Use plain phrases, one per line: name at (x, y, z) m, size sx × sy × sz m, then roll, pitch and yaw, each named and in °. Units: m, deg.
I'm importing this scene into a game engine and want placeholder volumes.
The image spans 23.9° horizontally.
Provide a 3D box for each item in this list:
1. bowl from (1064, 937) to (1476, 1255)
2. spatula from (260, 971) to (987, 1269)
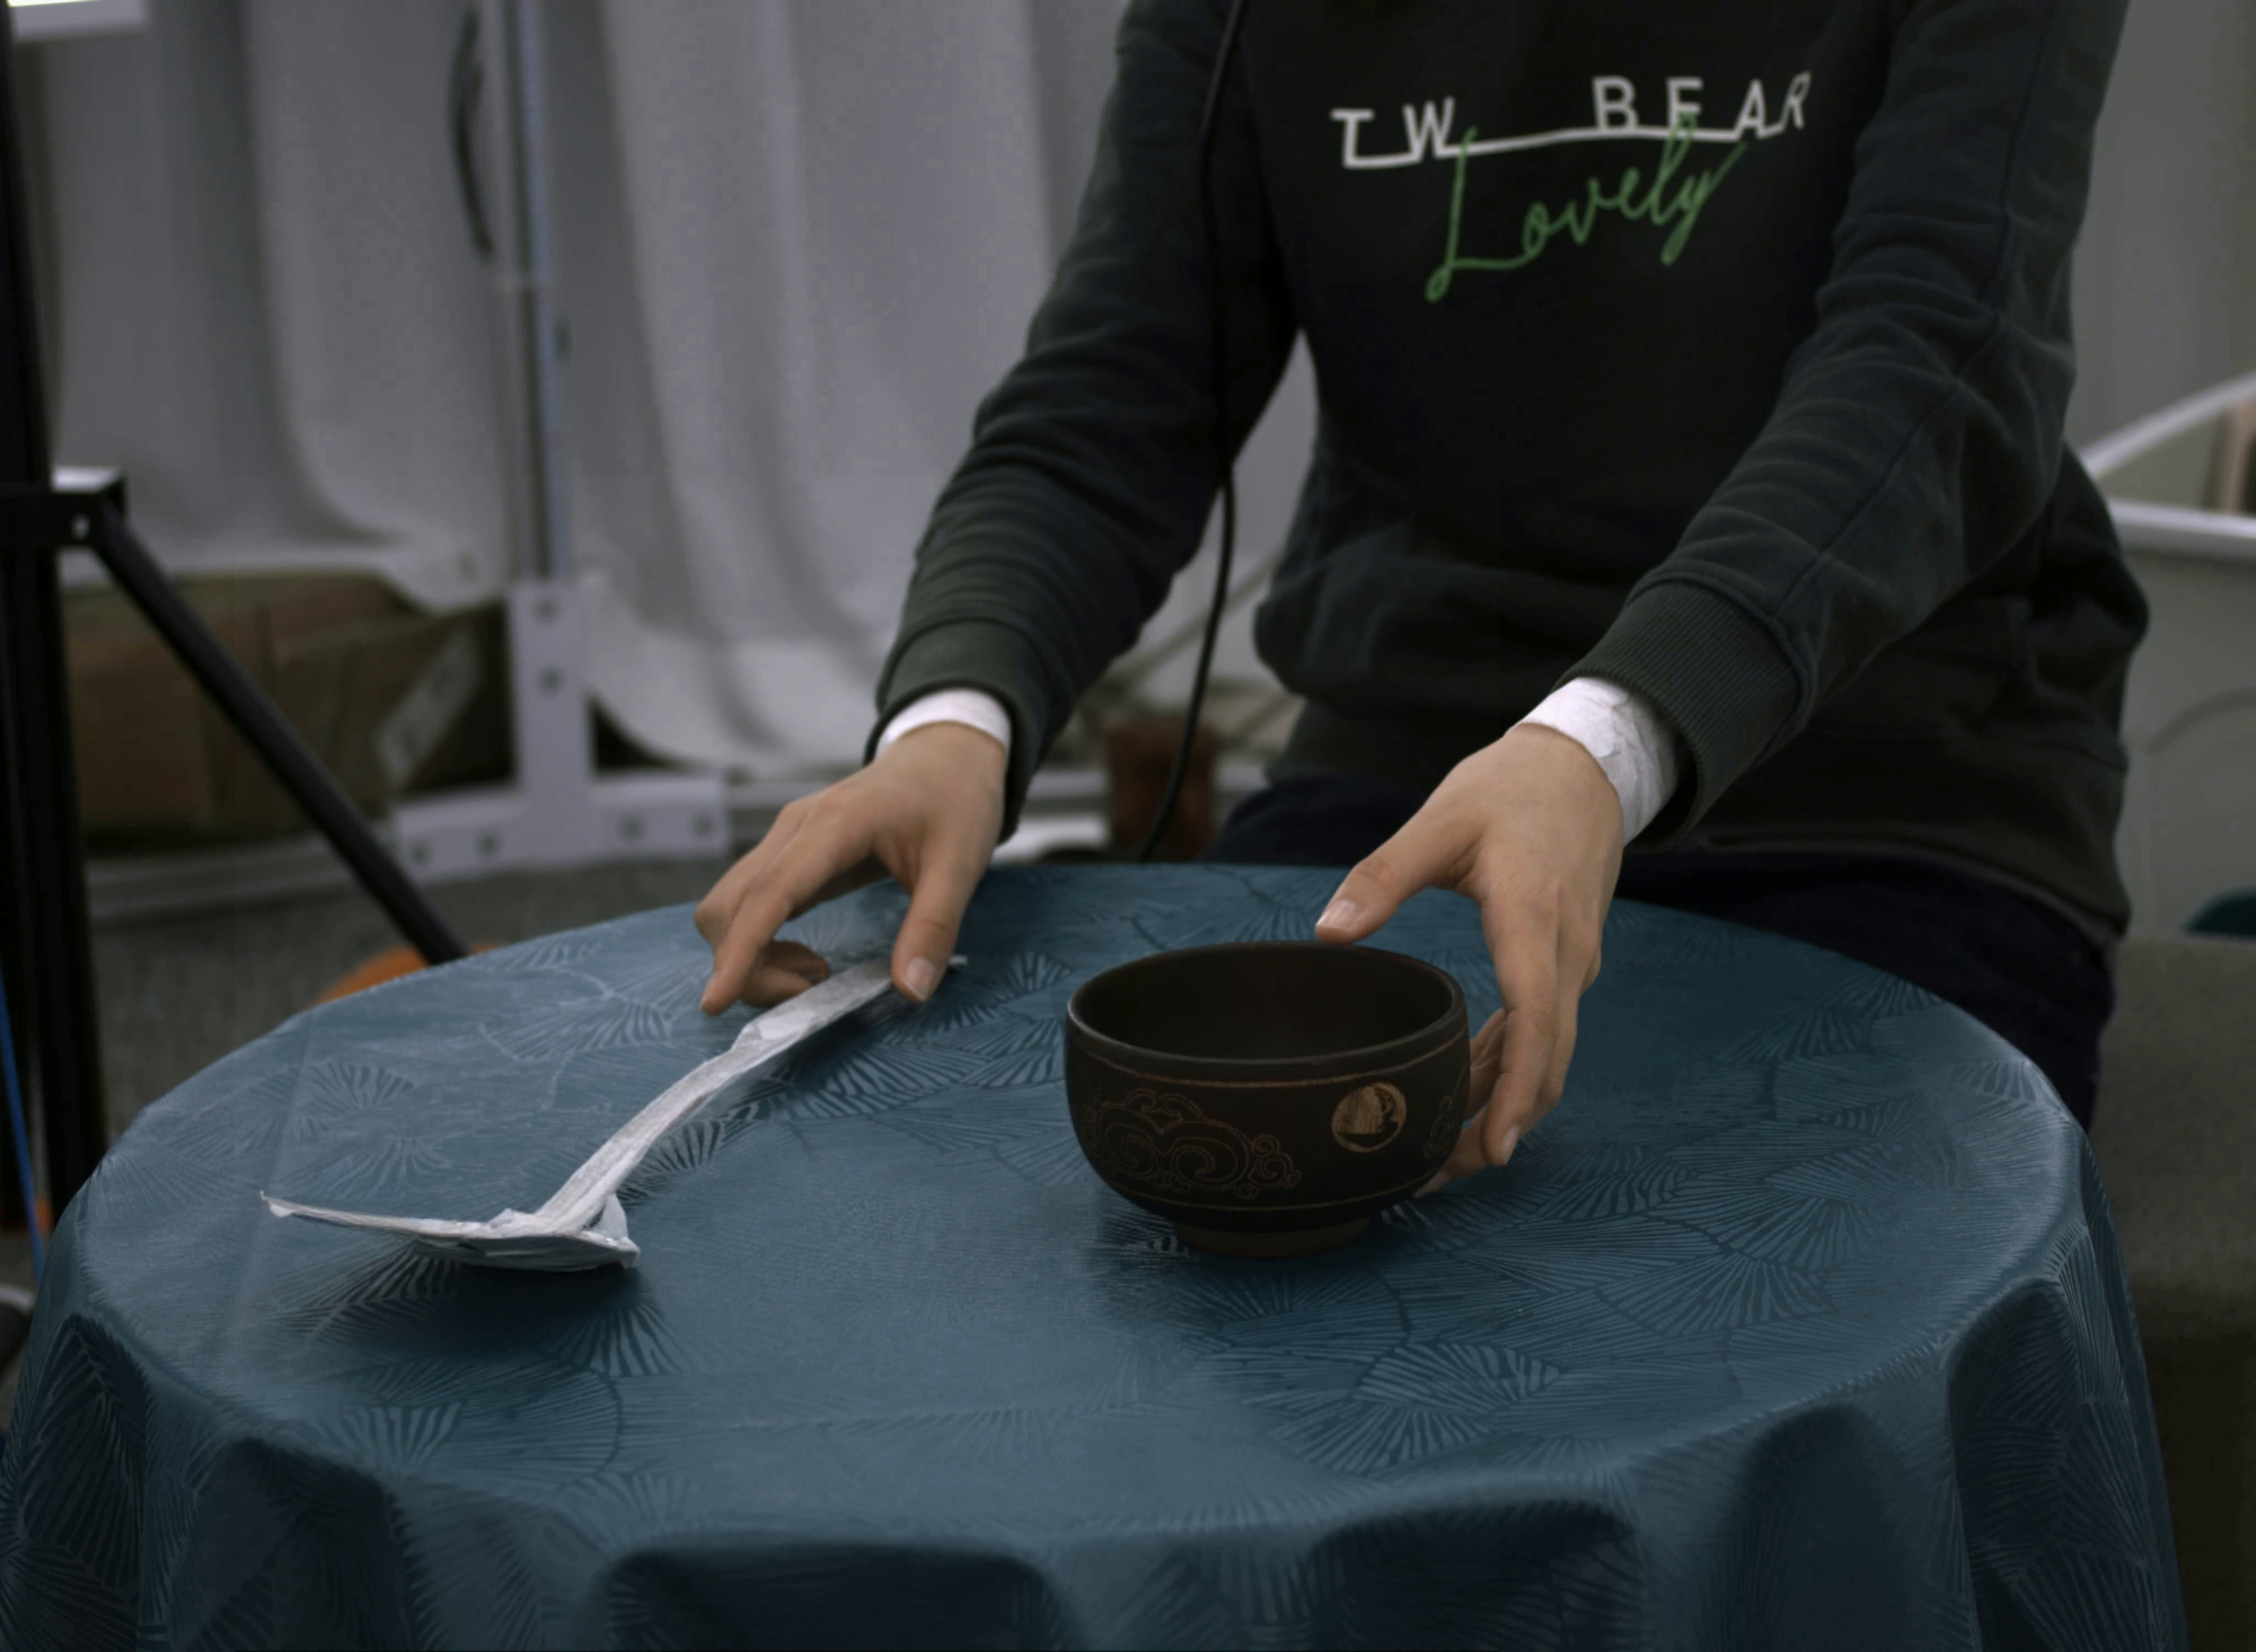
bowl at (0.041, 0.081, 1.516) m, size 0.117 × 0.070 × 0.118 m, roll -1°, pitch 15°, yaw -1°
spatula at (-0.130, 0.079, 1.612) m, size 0.100 × 0.045 × 0.359 m, roll 2°, pitch 17°, yaw 24°
